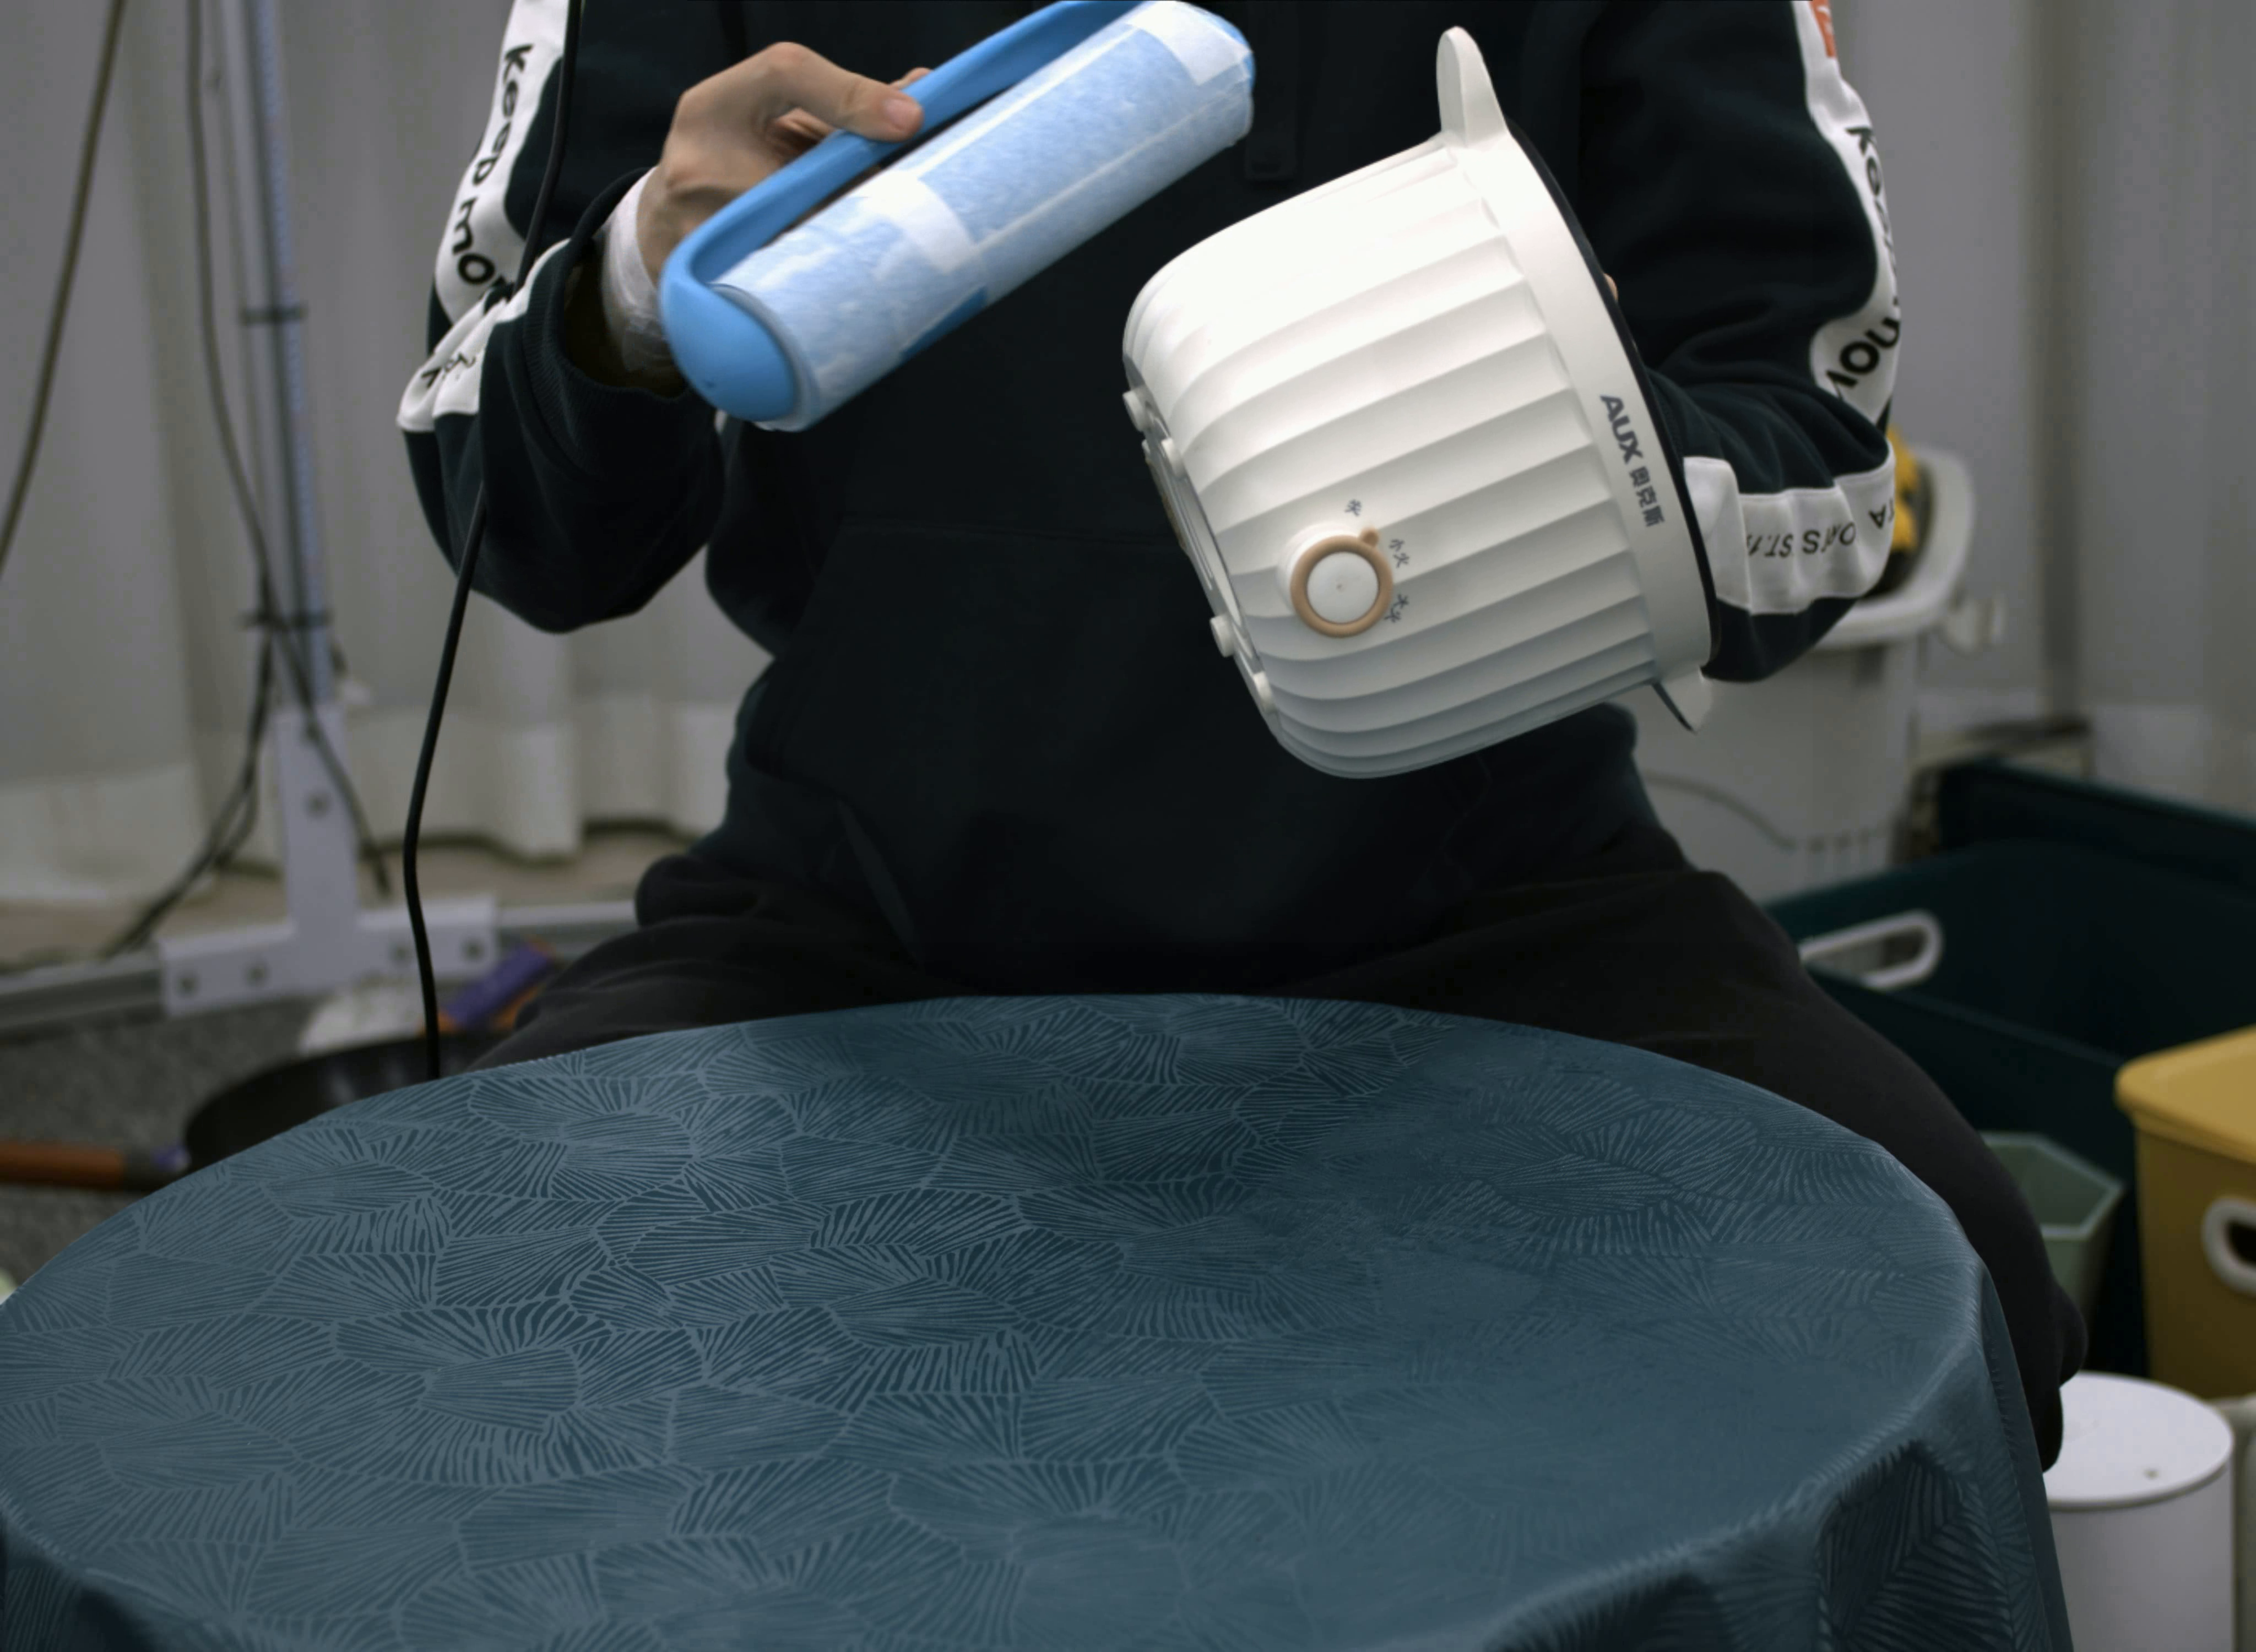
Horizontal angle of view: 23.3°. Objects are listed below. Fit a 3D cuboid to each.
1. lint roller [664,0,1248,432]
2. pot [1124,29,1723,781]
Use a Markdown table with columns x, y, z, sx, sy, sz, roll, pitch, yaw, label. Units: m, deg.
| x | y | z | sx | sy | sz | roll | pitch | yaw | label |
| --- | --- | --- | --- | --- | --- | --- | --- | --- | --- |
| -0.083 | -0.194 | 1.771 | 0.230 | 0.067 | 0.181 | -40 | 22 | -31 | lint roller |
| 0.085 | -0.106 | 1.669 | 0.142 | 0.239 | 0.192 | -24 | 17 | -5 | pot |
